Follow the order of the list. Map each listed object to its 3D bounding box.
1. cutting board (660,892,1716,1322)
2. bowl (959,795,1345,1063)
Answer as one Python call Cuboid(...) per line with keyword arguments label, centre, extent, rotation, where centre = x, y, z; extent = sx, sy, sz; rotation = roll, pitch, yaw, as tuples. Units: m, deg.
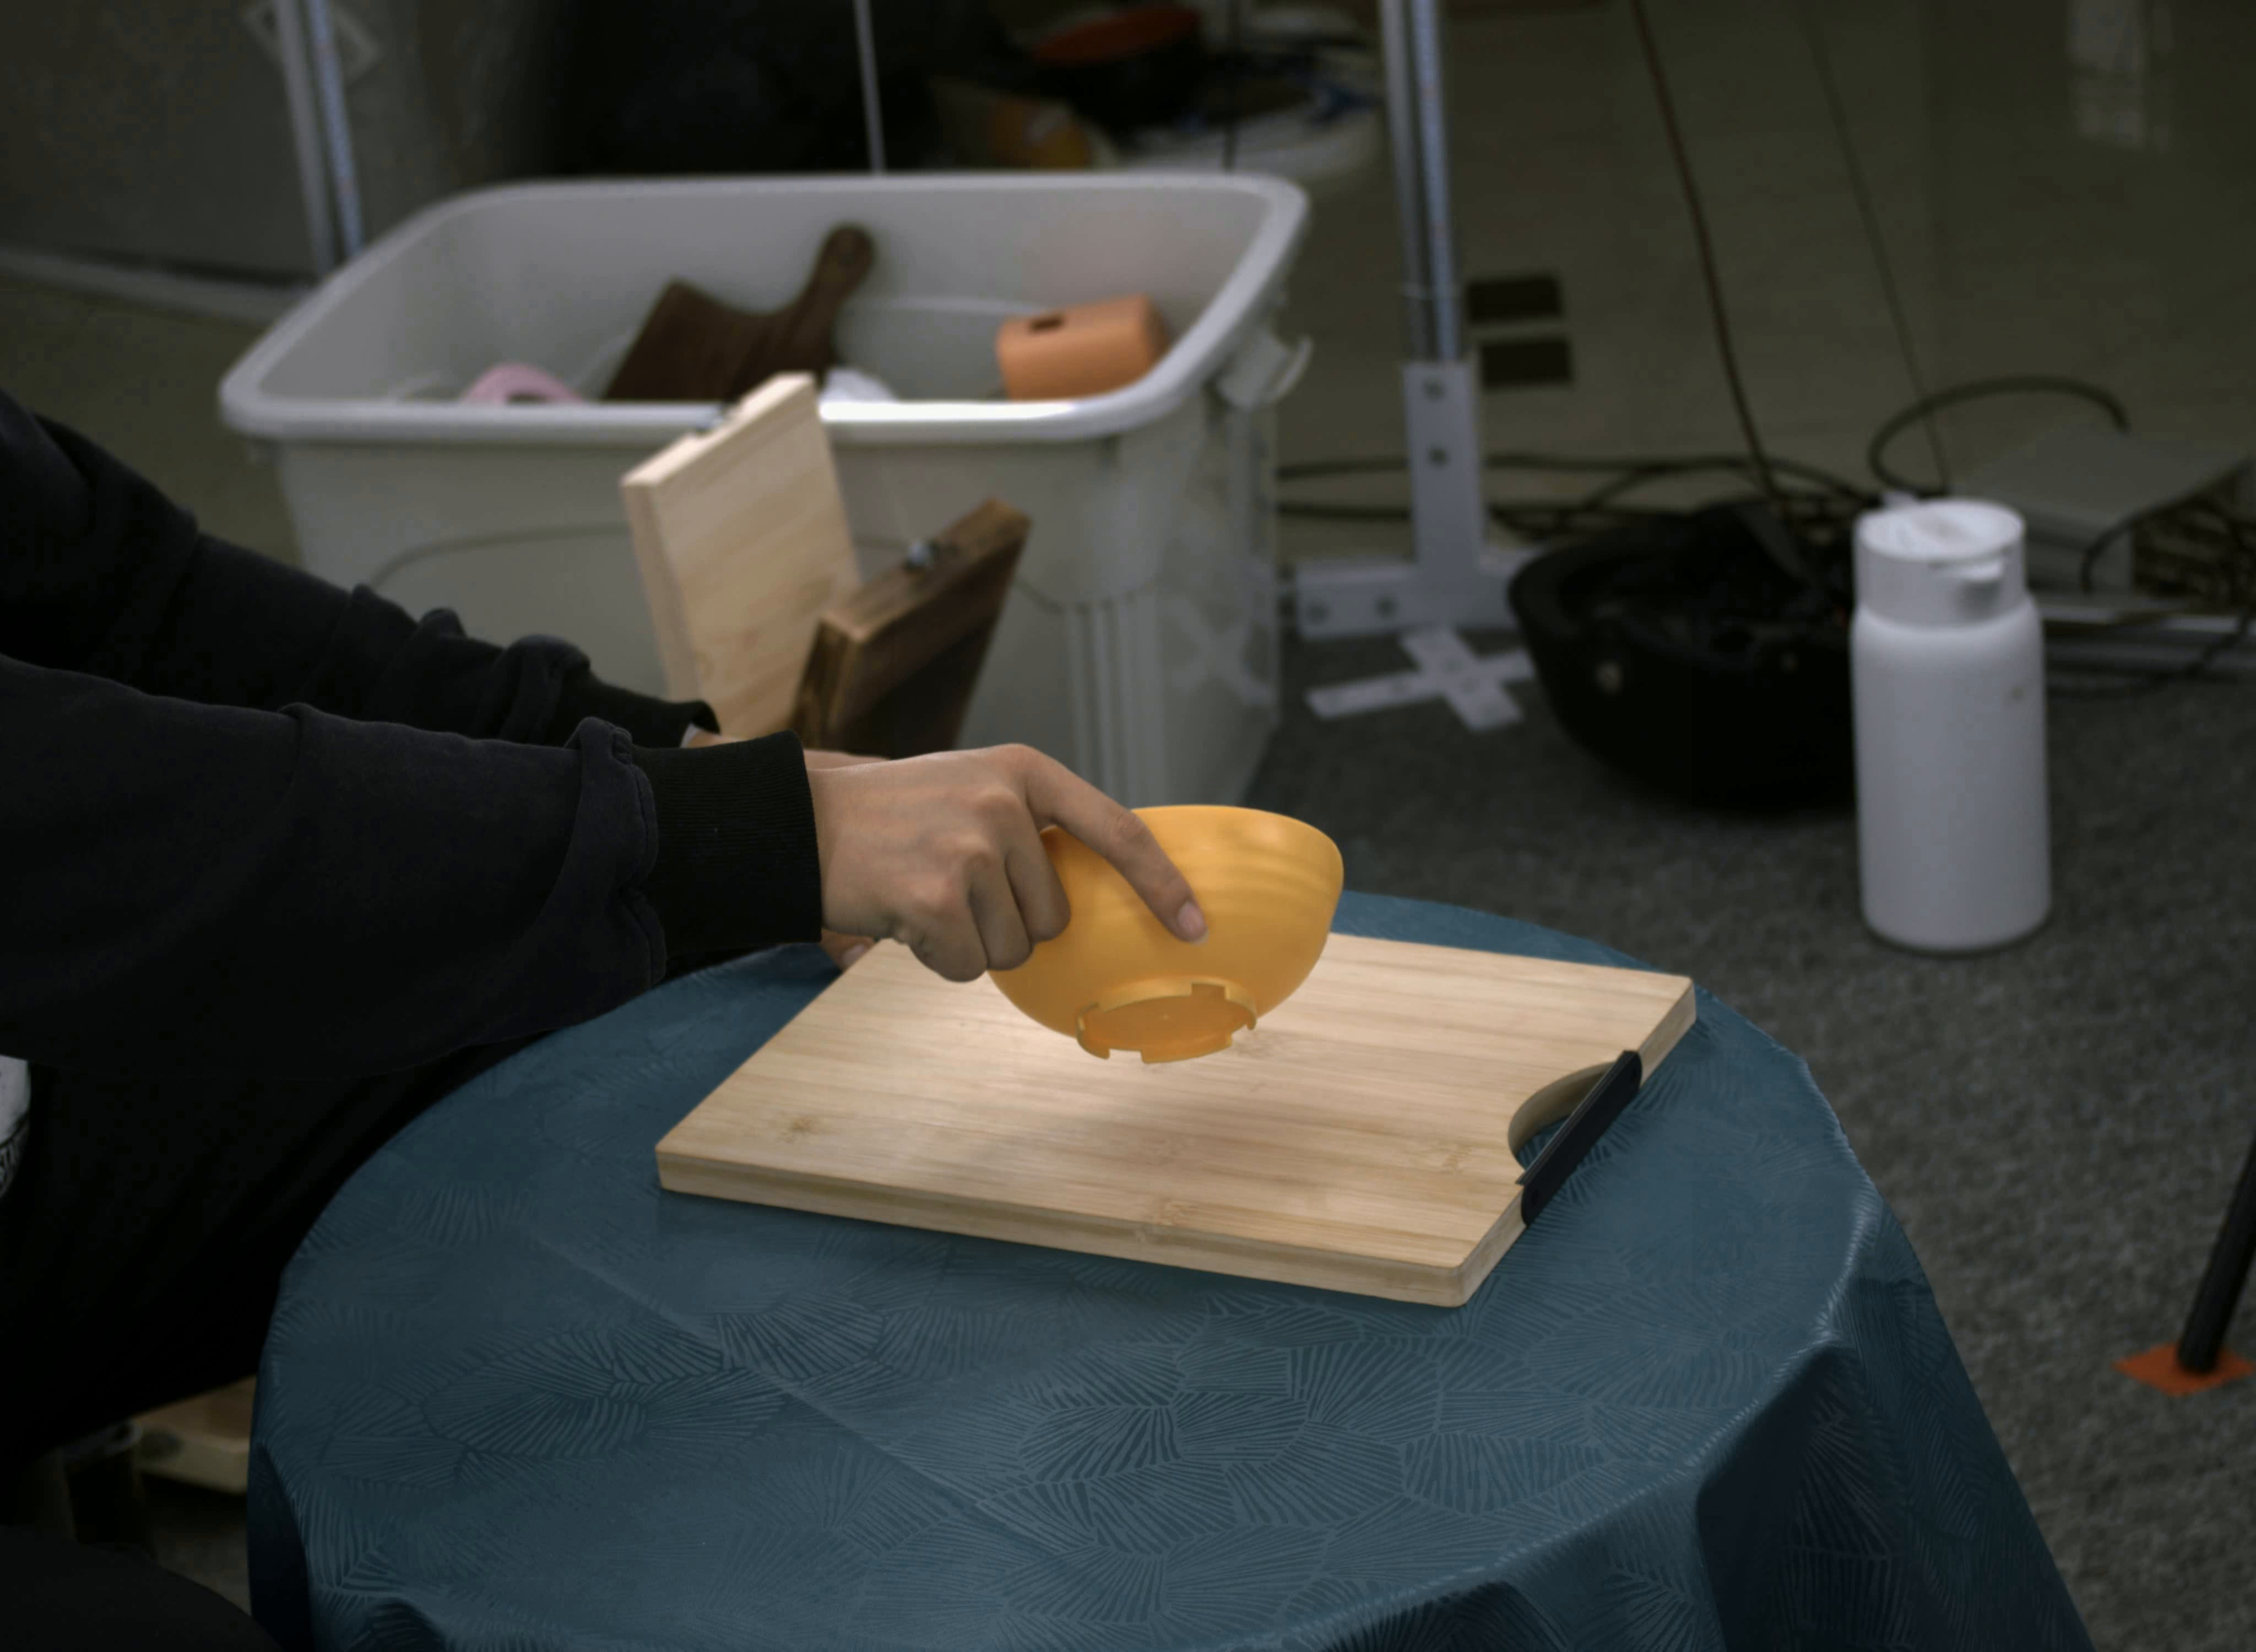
Cuboid(label="cutting board", centre=(0.025, 0.103, 2.206), extent=(0.347, 0.024, 0.247), rotation=(6, 28, 25))
Cuboid(label="bowl", centre=(0.011, 0.047, 2.086), extent=(0.145, 0.147, 0.059), rotation=(-6, 64, 0))
